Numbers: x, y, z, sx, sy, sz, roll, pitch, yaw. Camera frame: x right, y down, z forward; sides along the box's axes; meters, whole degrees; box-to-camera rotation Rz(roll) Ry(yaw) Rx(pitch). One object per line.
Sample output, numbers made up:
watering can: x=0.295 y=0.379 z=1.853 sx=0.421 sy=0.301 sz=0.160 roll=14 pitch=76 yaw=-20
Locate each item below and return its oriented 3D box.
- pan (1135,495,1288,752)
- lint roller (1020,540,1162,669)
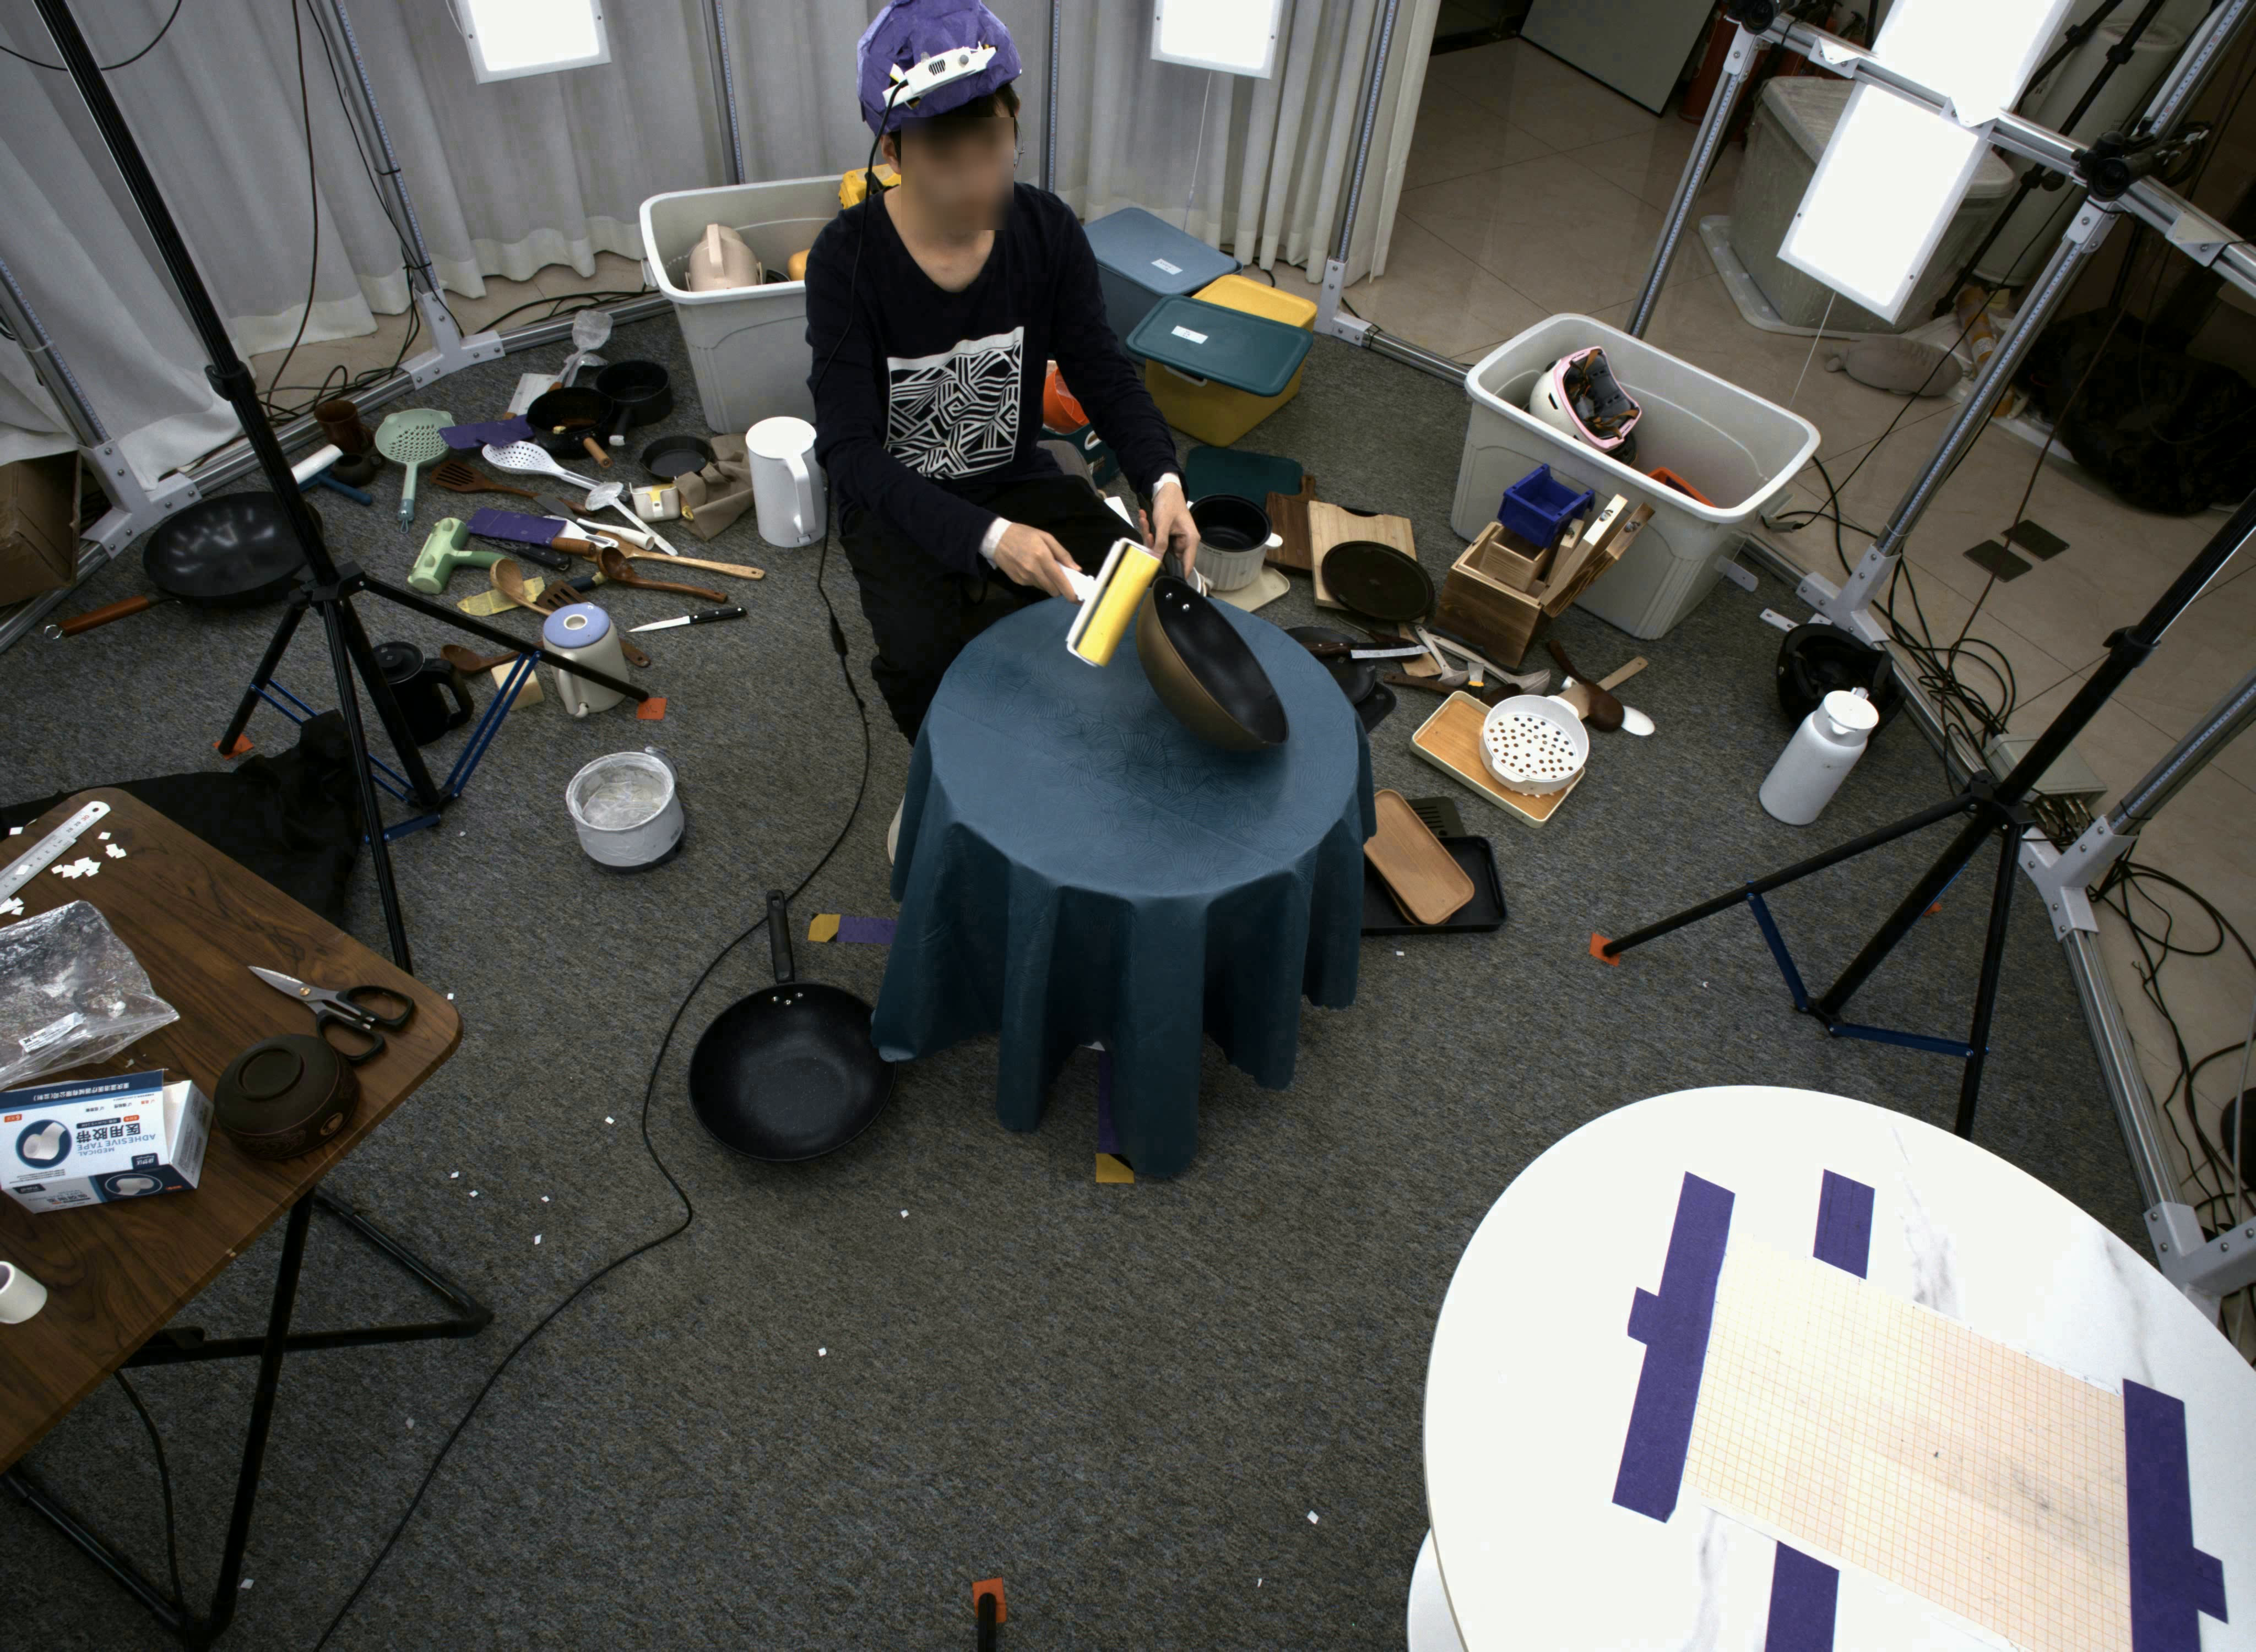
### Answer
pan: x=0.069 y=-0.277 z=1.777 sx=0.284 sy=0.086 sz=0.474 roll=22 pitch=38 yaw=-49
lint roller: x=-0.072 y=-0.330 z=1.761 sx=0.193 sy=0.173 sz=0.051 roll=29 pitch=9 yaw=13
